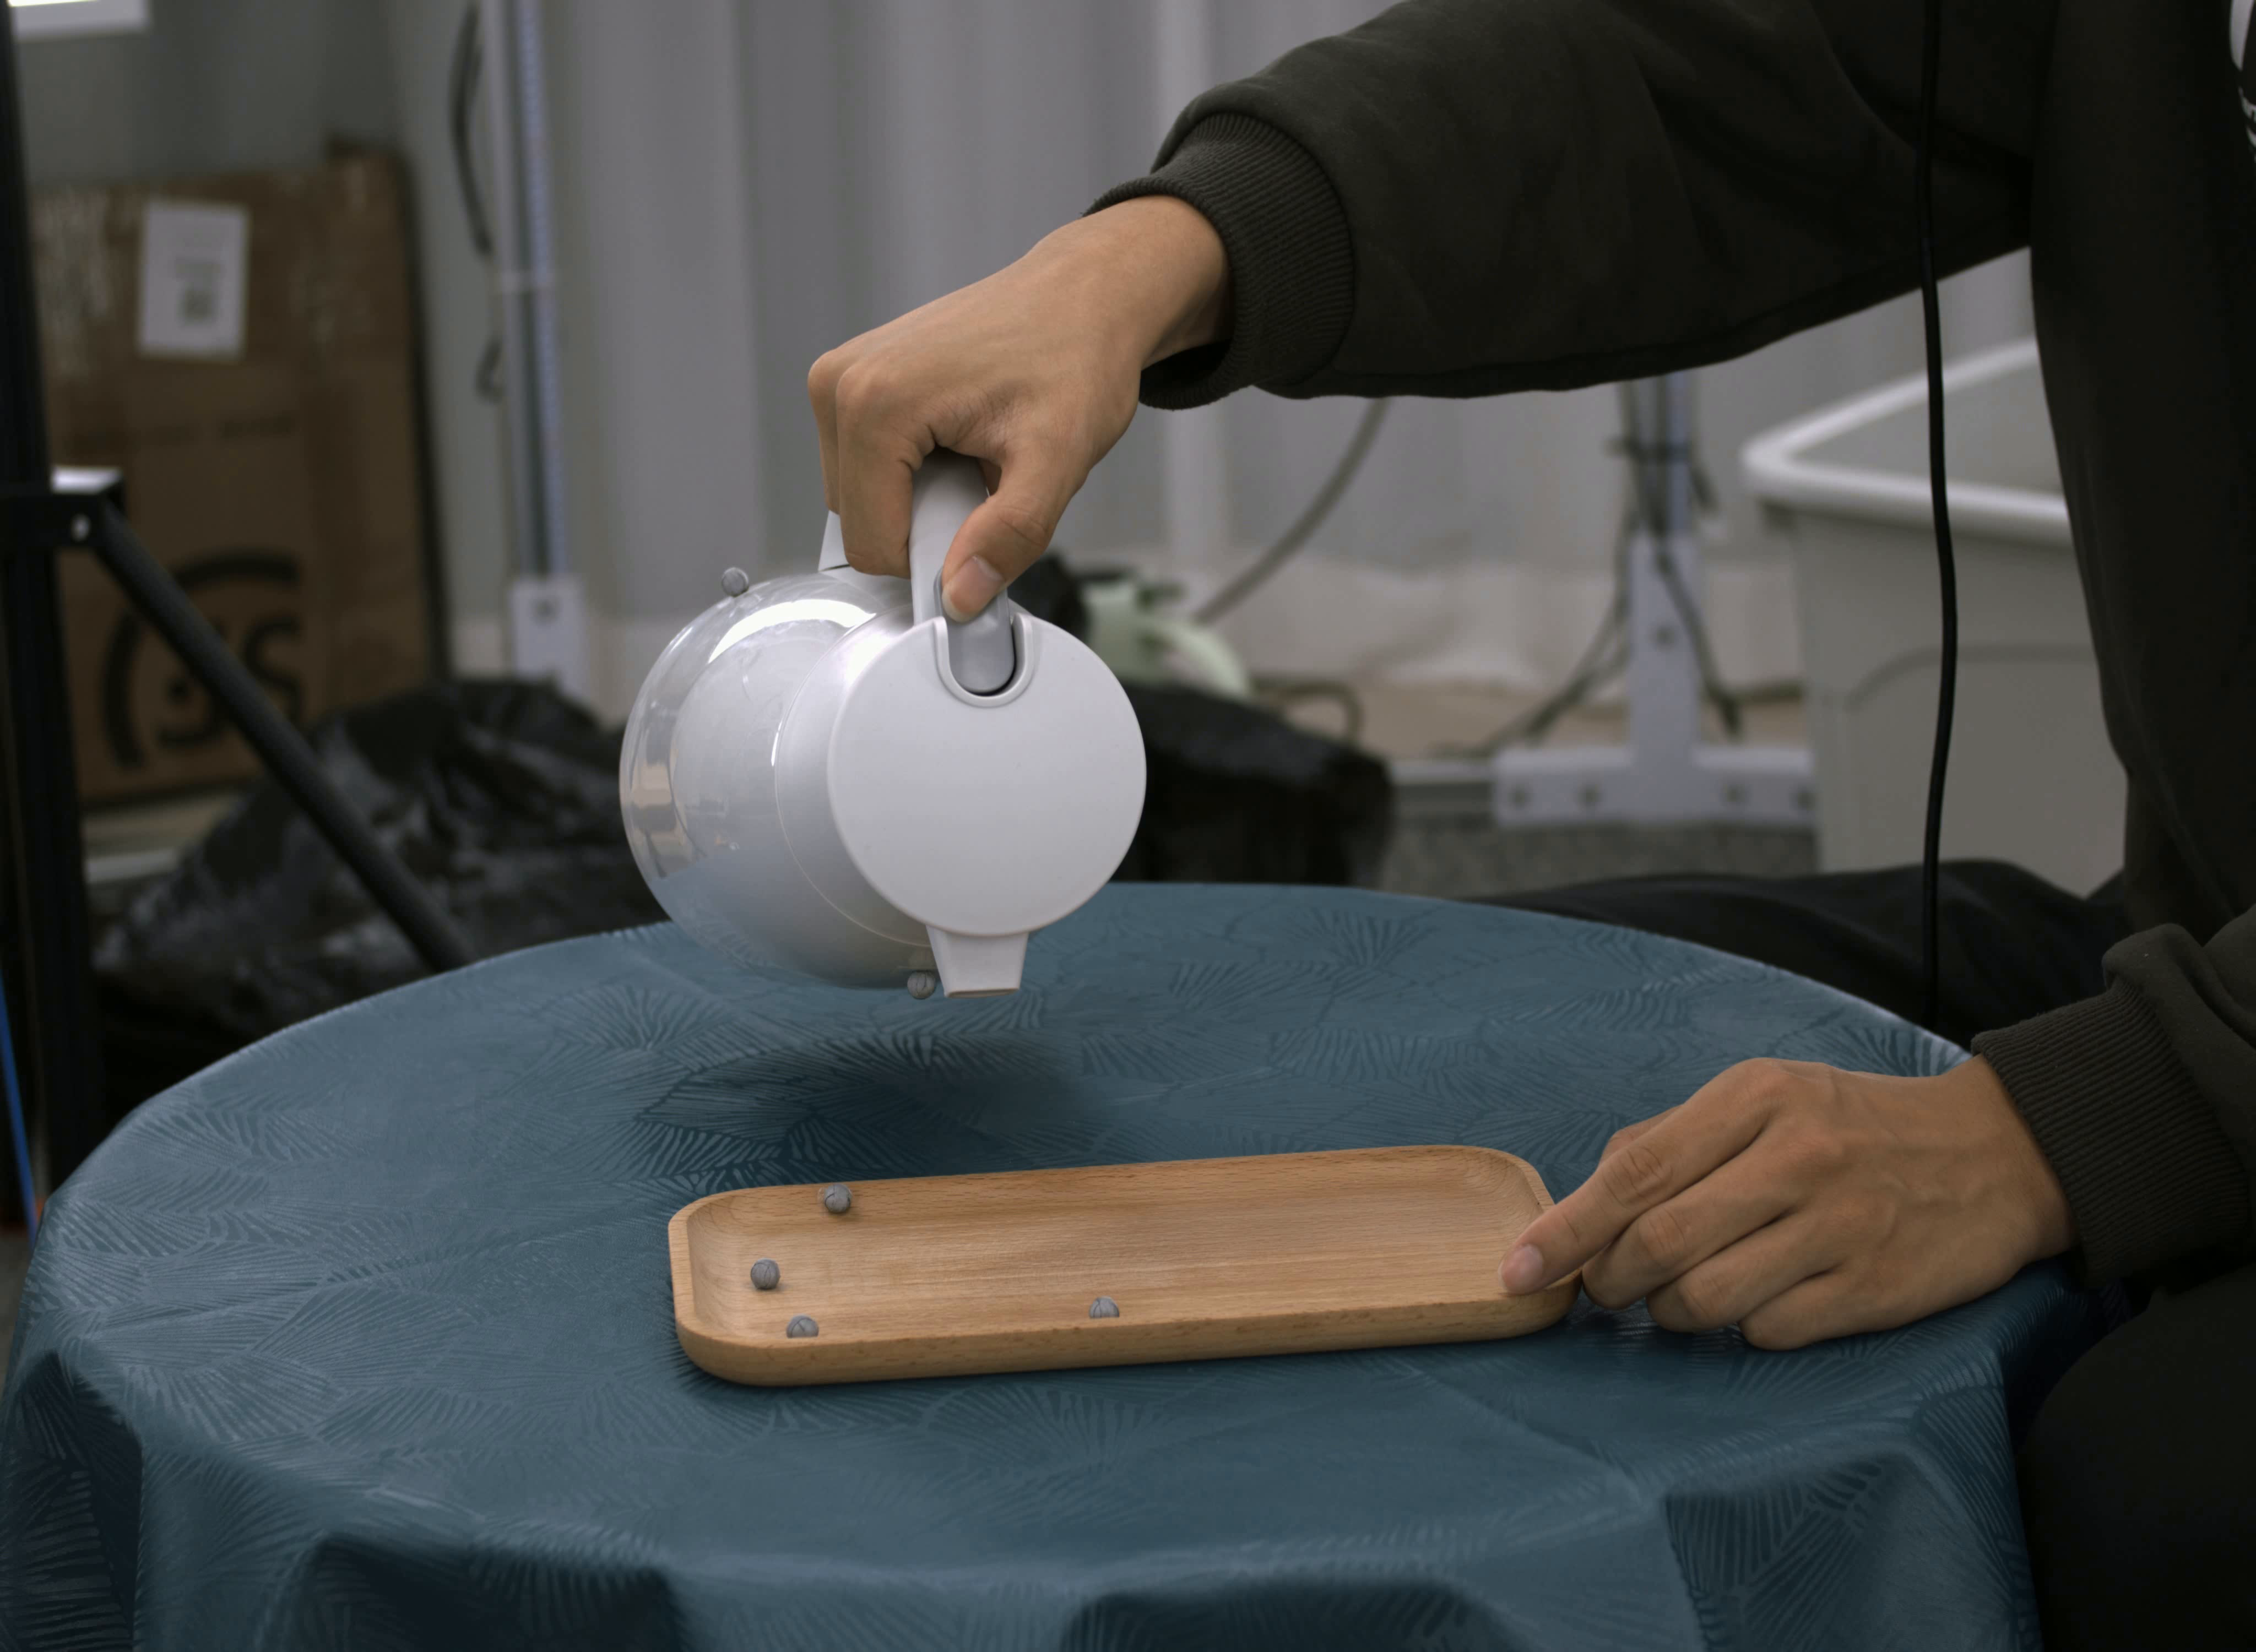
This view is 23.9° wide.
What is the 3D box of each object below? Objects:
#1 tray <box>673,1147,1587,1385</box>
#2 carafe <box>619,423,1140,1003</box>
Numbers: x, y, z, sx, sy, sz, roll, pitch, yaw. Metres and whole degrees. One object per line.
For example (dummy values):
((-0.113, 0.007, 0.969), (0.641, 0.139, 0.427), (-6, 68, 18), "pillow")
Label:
((-0.001, 0.123, 1.481), (0.249, 0.023, 0.131), (-2, 18, -3), "tray")
((-0.071, -0.033, 1.589), (0.130, 0.168, 0.251), (-4, 0, -13), "carafe")
